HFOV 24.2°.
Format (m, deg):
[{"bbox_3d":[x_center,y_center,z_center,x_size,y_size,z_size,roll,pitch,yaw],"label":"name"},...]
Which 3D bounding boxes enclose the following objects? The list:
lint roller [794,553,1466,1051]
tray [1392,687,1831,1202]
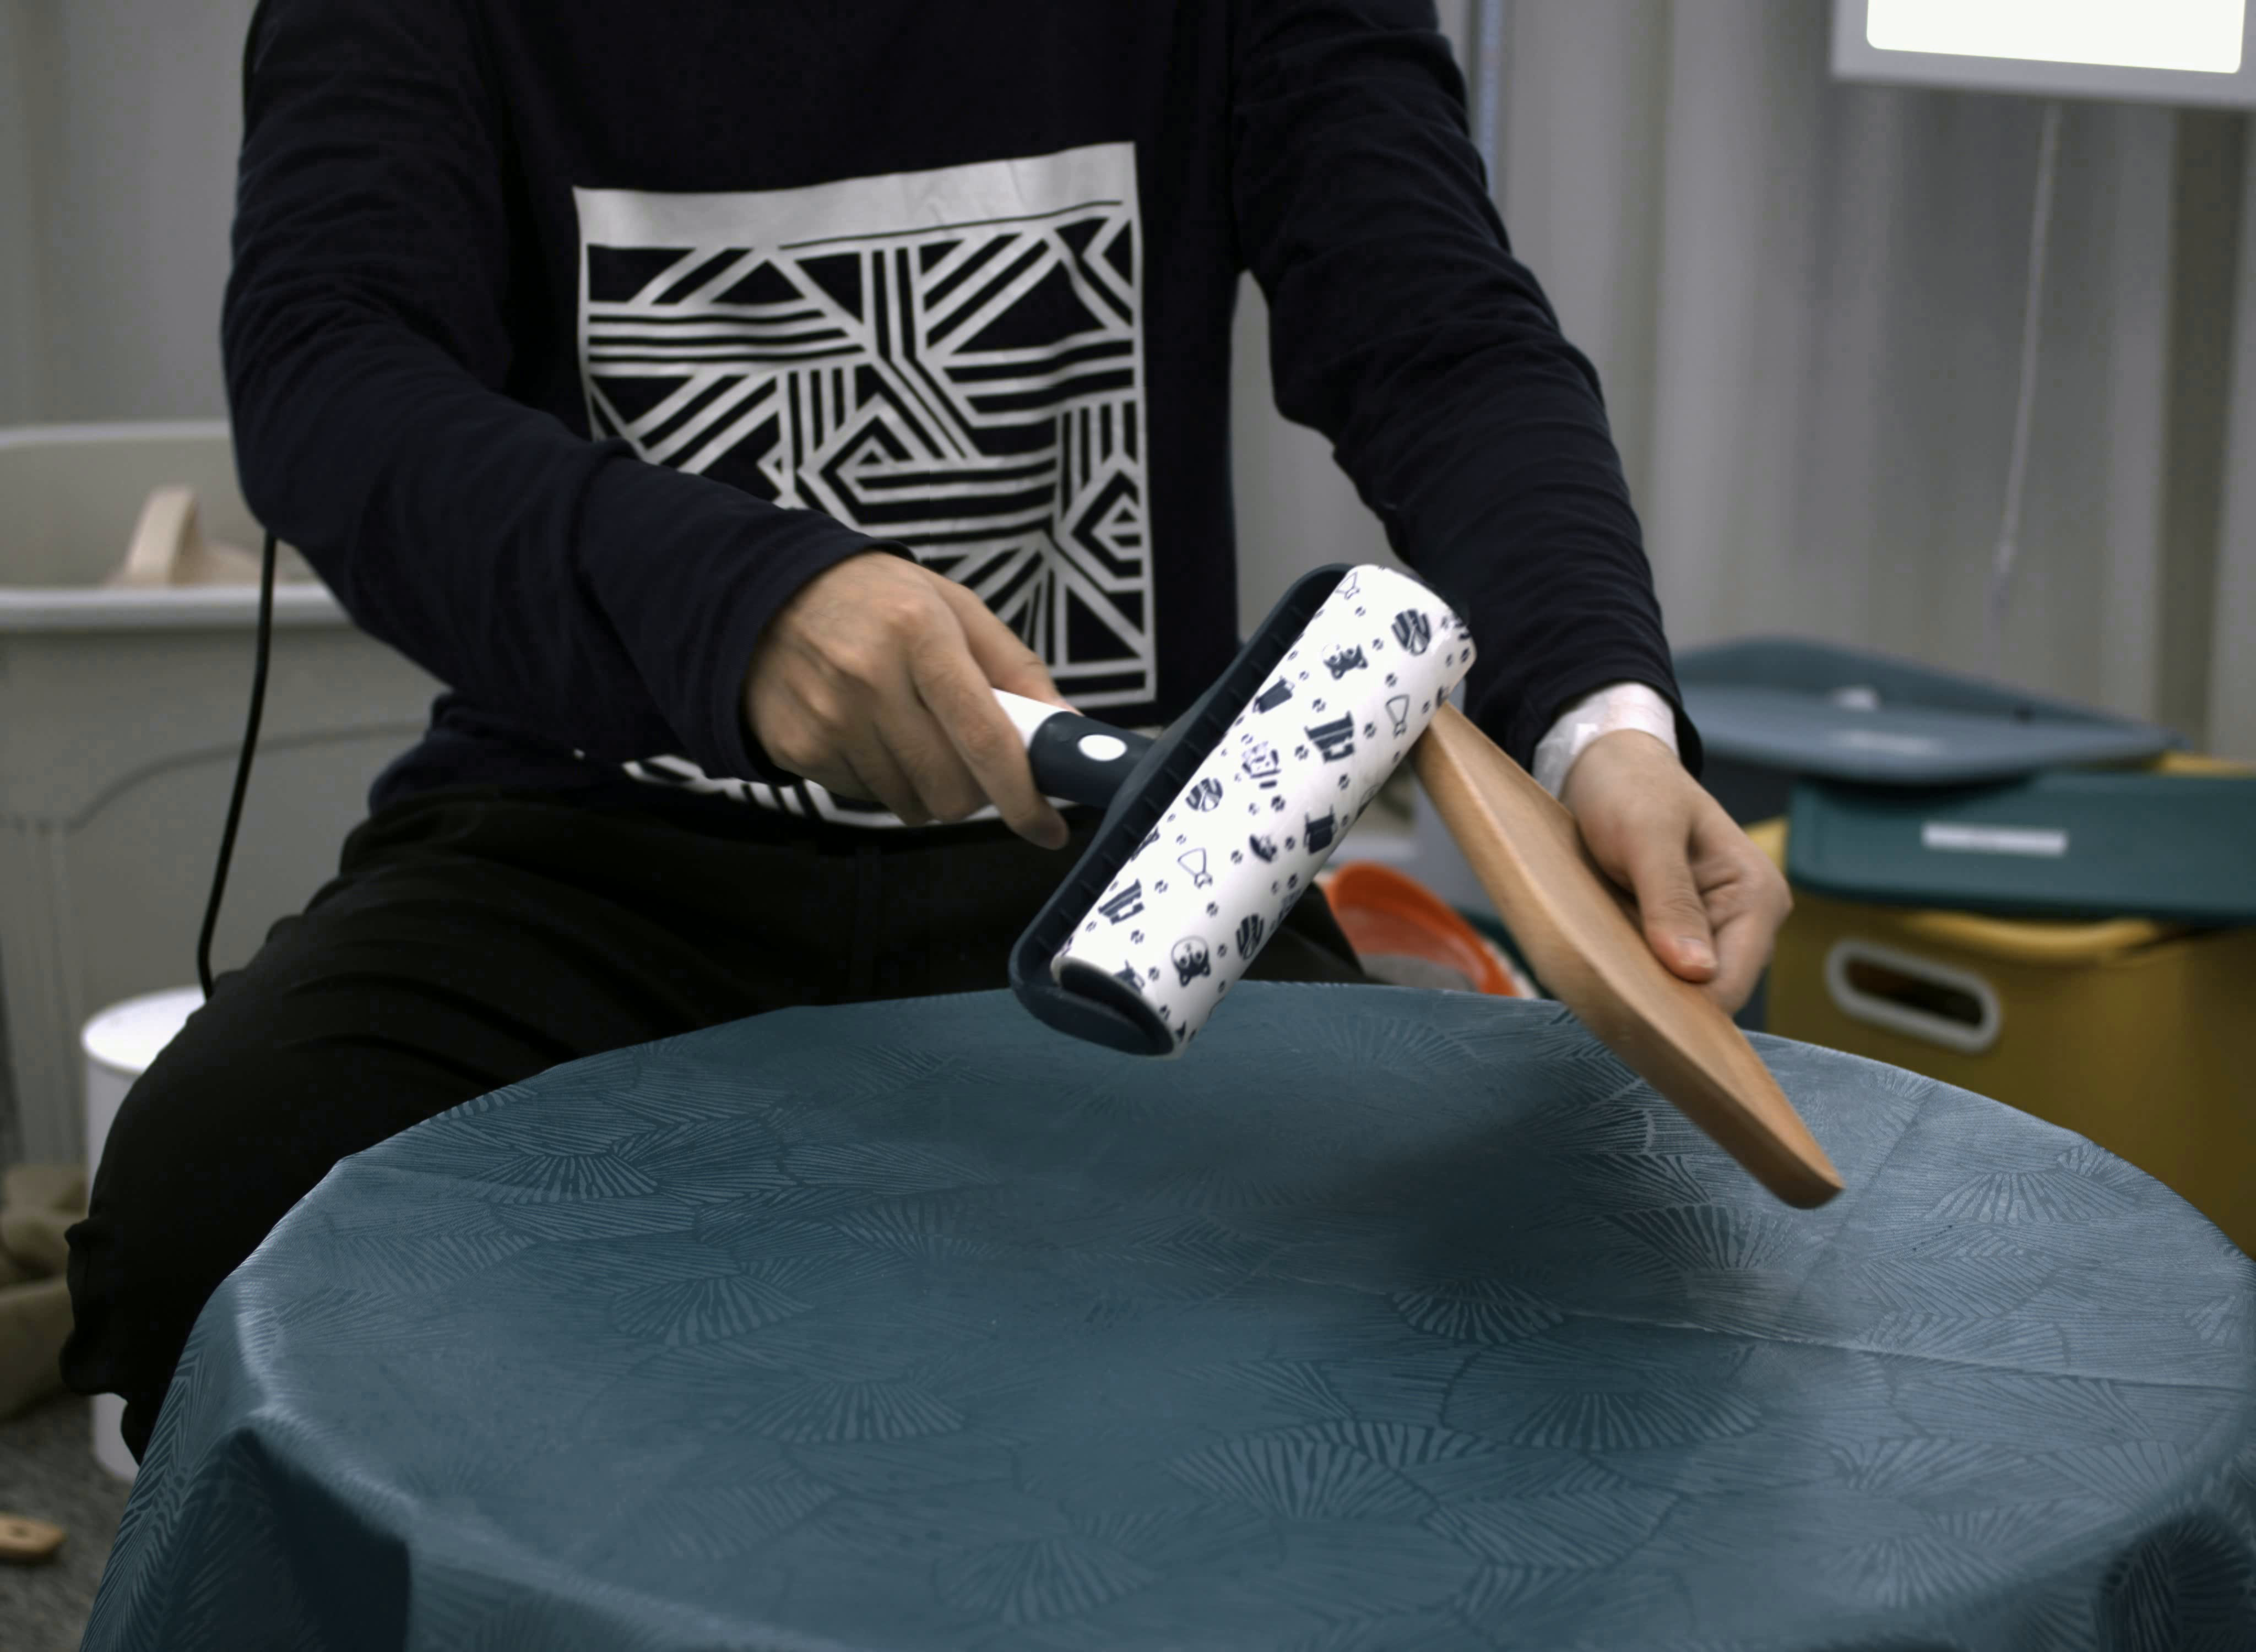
[{"bbox_3d":[-0.028,-0.024,1.643,0.244,0.051,0.176,14,60,45],"label":"lint roller"},{"bbox_3d":[0.137,0.028,1.586,0.023,0.132,0.248,-42,23,7],"label":"tray"}]
